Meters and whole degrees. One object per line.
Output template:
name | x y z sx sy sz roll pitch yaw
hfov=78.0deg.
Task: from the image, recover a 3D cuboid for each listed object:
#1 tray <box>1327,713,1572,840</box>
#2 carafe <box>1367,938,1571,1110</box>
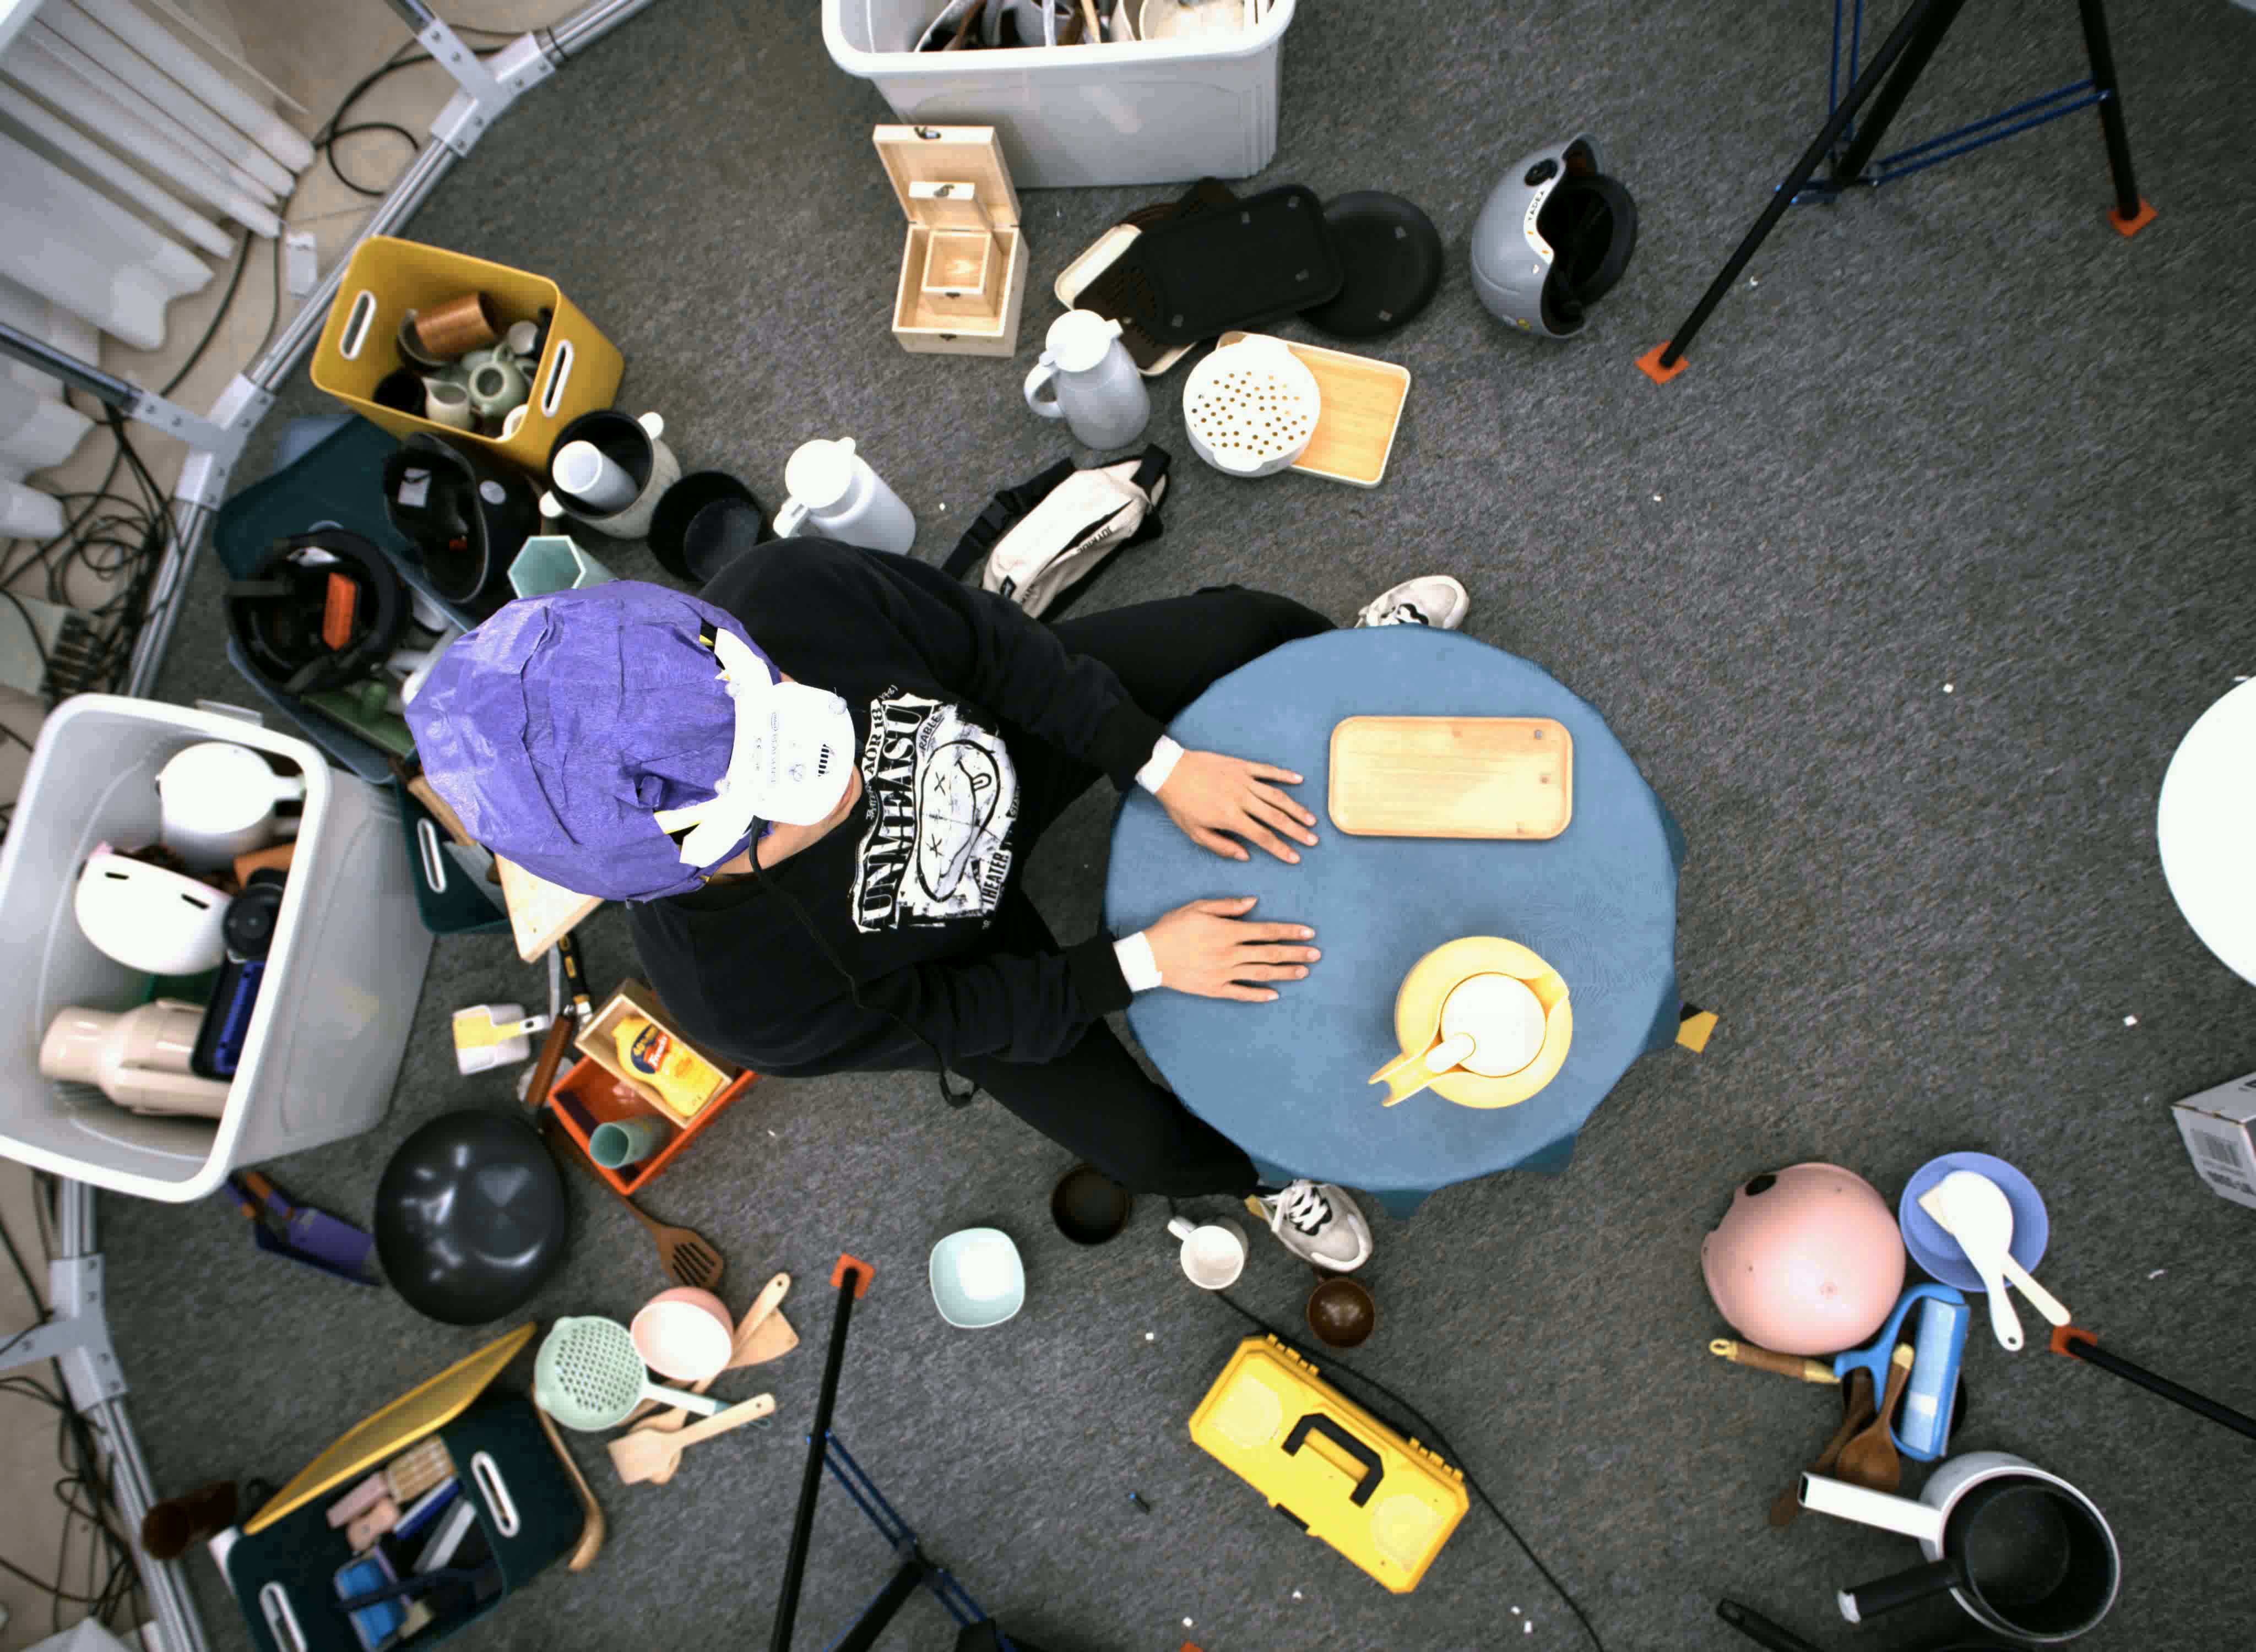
tray | 0.337 -0.054 1.446 0.251 0.023 0.130 2 85 12
carafe | 0.319 0.194 1.313 0.203 0.261 0.162 -31 78 5
